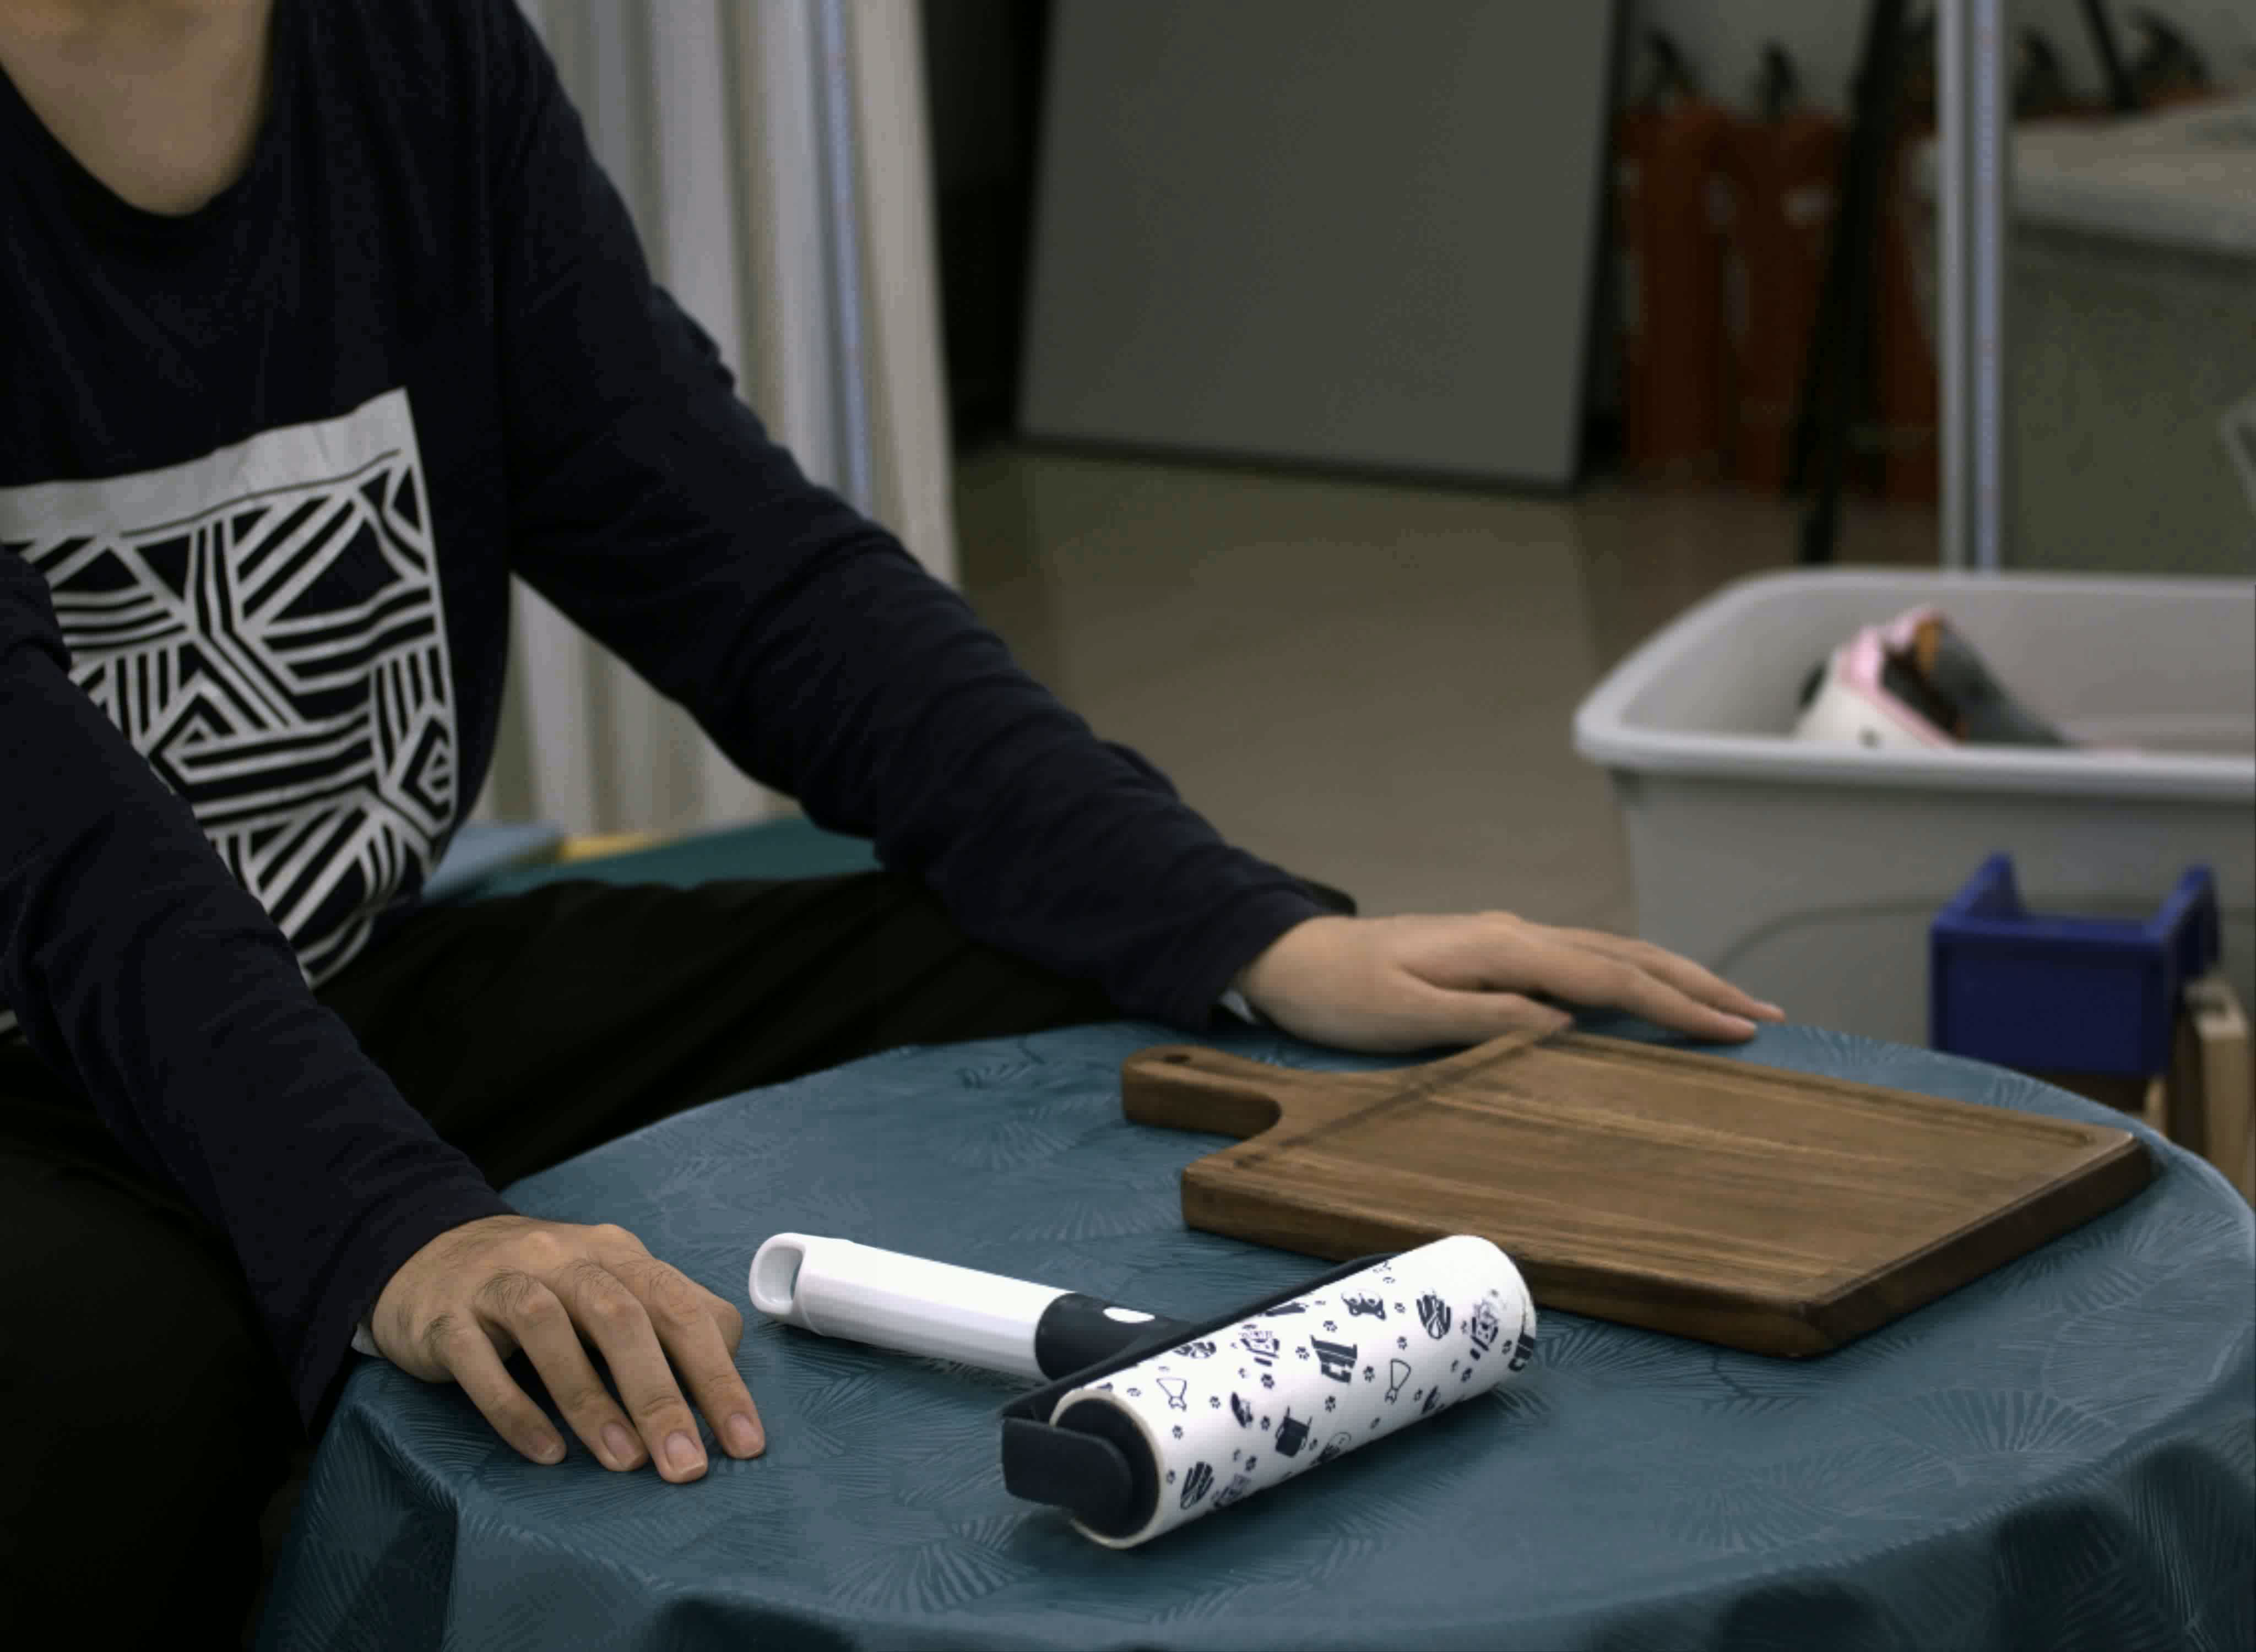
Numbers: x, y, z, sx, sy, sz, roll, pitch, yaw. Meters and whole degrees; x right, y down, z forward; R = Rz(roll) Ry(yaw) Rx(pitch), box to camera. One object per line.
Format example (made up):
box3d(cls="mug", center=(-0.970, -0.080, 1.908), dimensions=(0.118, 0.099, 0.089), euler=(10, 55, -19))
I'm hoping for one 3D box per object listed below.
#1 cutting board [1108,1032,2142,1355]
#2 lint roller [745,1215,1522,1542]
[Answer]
box3d(cls="cutting board", center=(0.132, 0.107, 1.748), dimensions=(0.355, 0.023, 0.197), euler=(8, 18, 41))
box3d(cls="lint roller", center=(-0.027, 0.148, 1.584), dimensions=(0.249, 0.051, 0.173), euler=(6, 17, 44))
